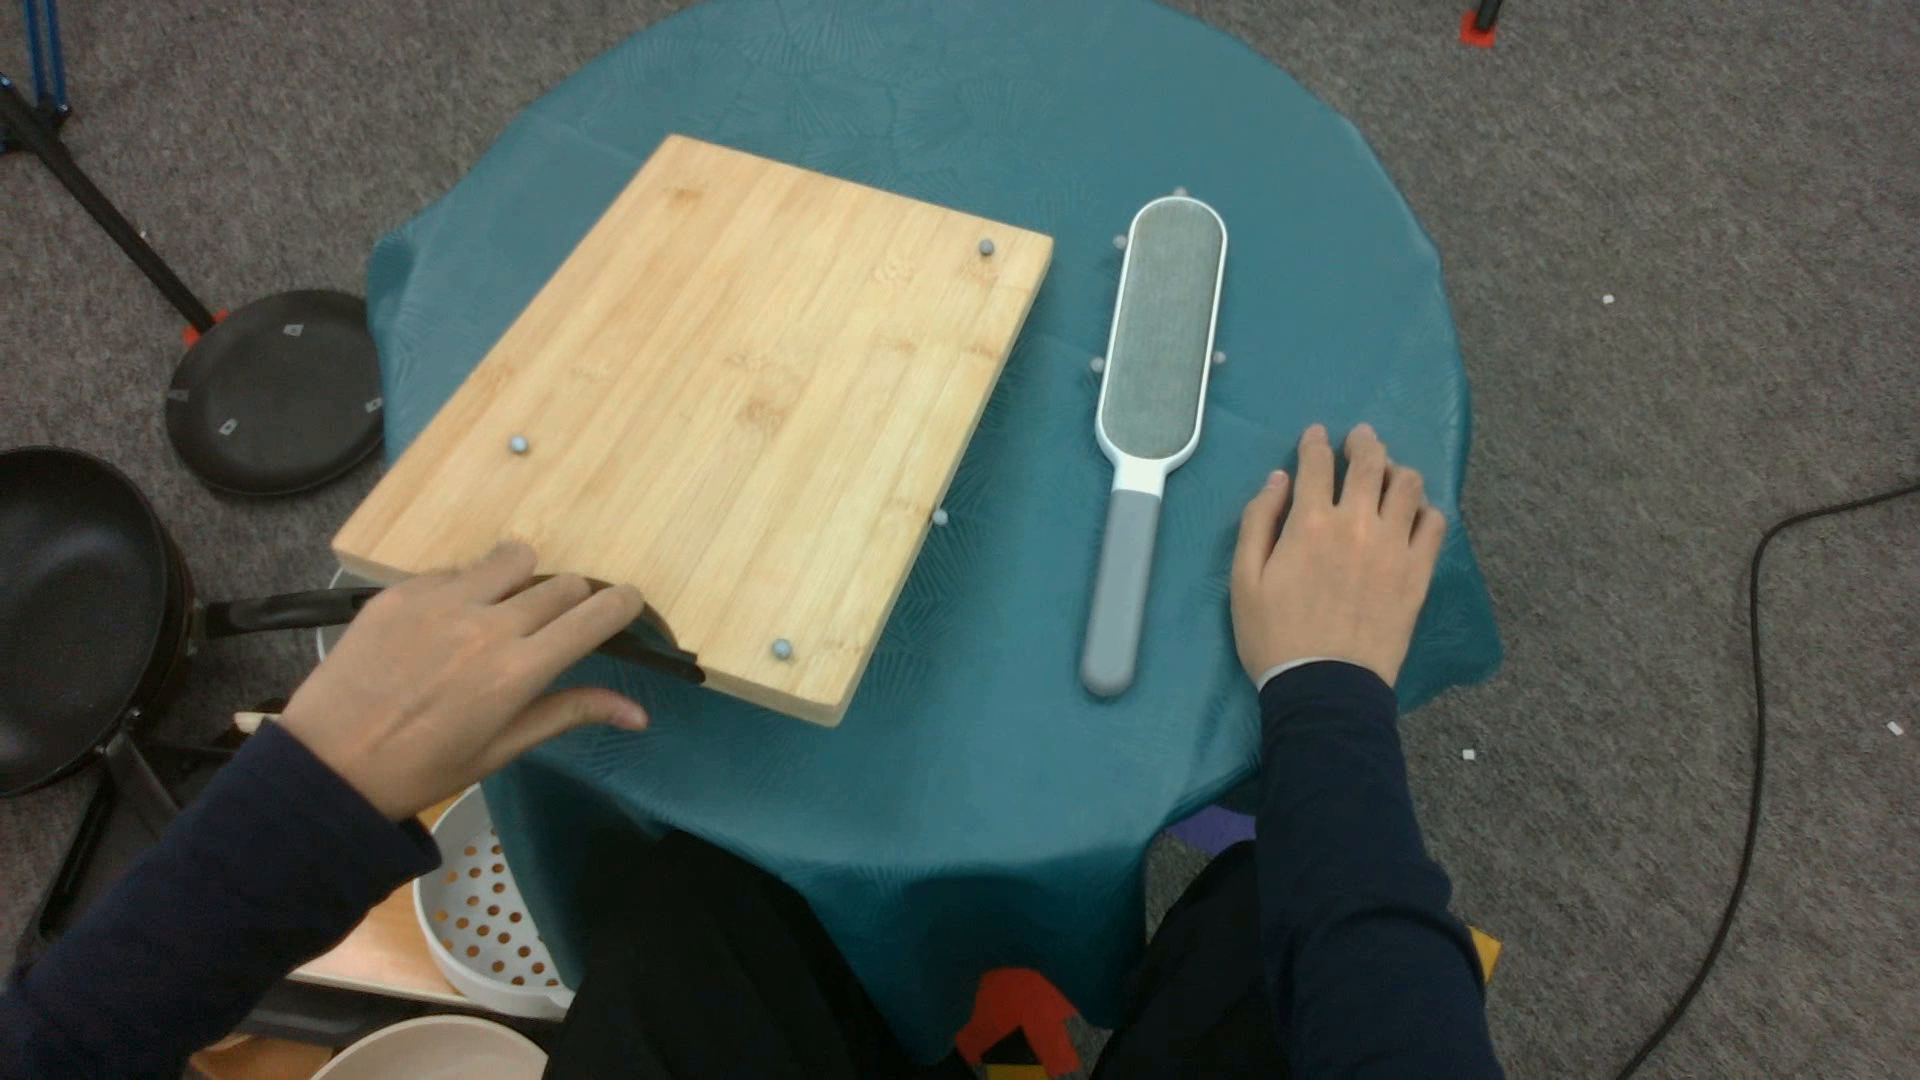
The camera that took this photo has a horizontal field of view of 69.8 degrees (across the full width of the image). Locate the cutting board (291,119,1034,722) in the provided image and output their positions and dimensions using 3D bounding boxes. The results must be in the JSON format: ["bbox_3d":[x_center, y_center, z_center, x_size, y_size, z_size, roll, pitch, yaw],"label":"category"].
[{"bbox_3d":[-0.125,-0.085,0.700,0.250,0.023,0.350,16,51,7],"label":"cutting board"}]

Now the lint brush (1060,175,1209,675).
[{"bbox_3d":[0.089,-0.073,0.738,0.060,0.021,0.310,12,65,0],"label":"lint brush"}]
